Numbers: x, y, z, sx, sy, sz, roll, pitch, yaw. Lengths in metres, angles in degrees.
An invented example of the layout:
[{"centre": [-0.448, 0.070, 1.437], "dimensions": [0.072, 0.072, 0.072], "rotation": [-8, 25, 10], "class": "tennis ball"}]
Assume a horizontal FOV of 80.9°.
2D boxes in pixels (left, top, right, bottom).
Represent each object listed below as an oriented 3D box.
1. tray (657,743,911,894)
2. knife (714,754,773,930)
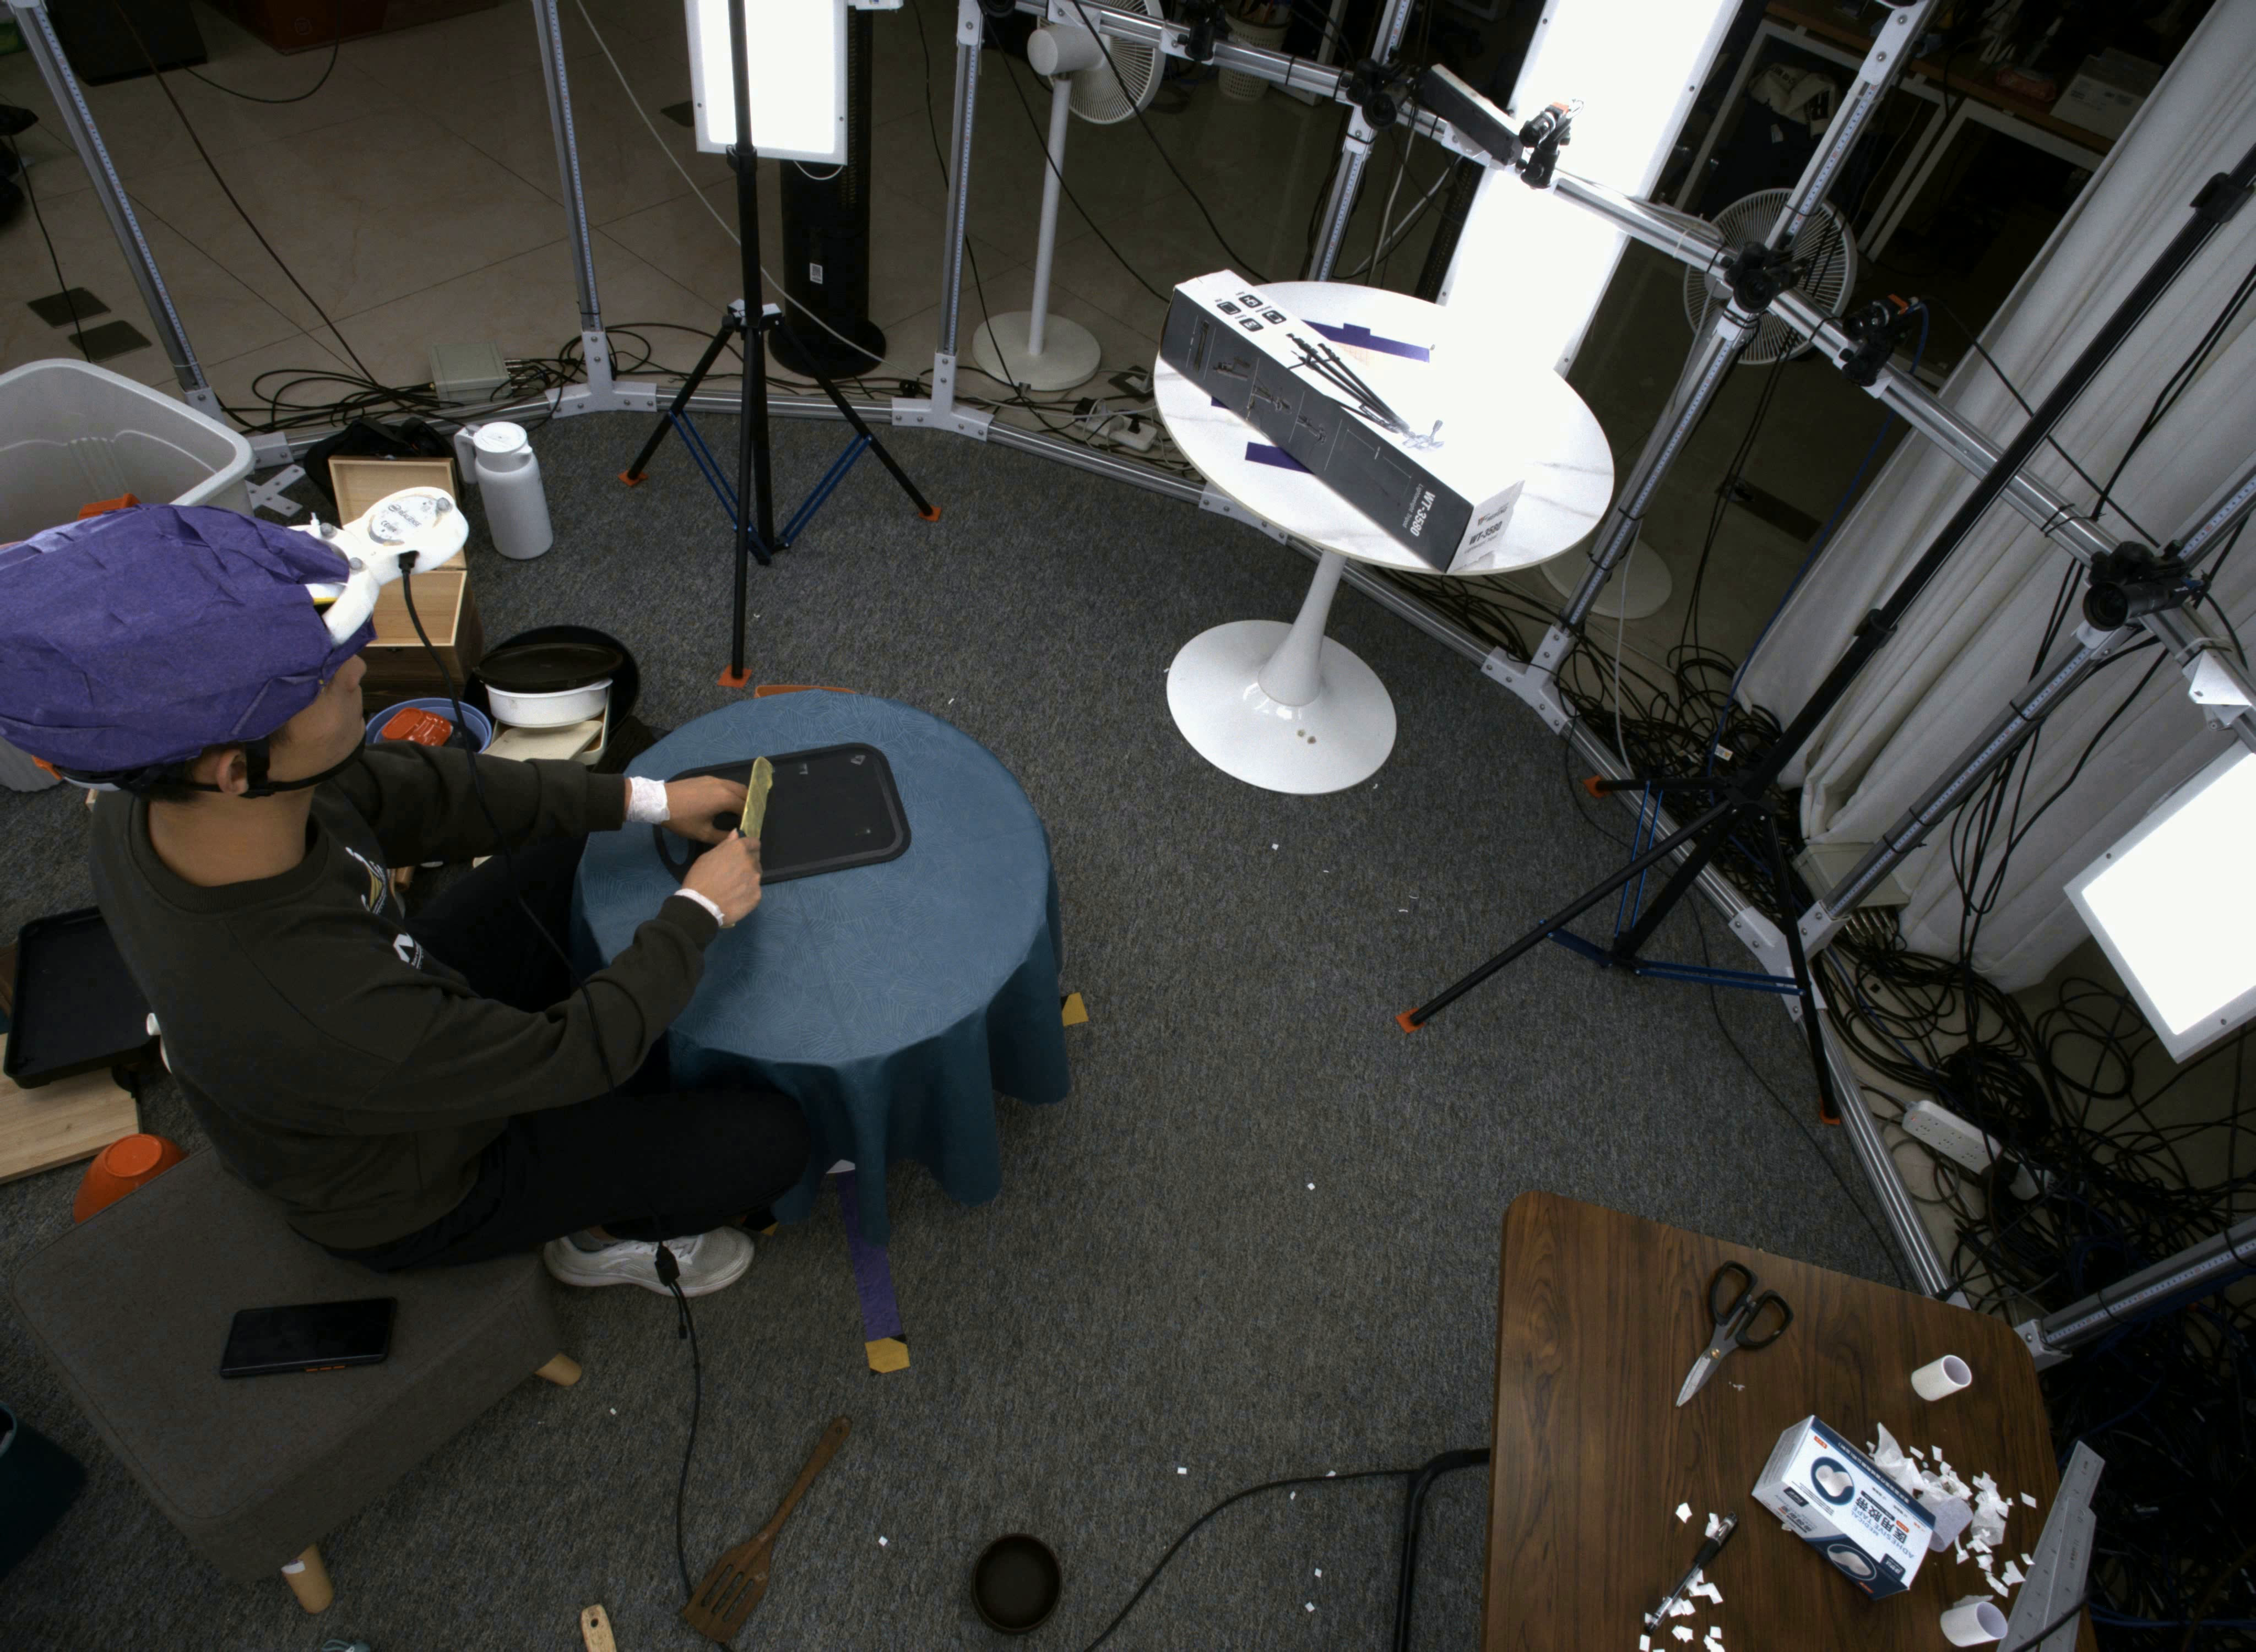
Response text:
[{"centre": [-0.463, -0.015, 1.731], "dimensions": [0.327, 0.010, 0.206], "rotation": [-11, 58, -22], "class": "tray"}, {"centre": [-0.480, 0.018, 1.637], "dimensions": [0.027, 0.084, 0.284], "rotation": [-1, 50, 3], "class": "knife"}]
